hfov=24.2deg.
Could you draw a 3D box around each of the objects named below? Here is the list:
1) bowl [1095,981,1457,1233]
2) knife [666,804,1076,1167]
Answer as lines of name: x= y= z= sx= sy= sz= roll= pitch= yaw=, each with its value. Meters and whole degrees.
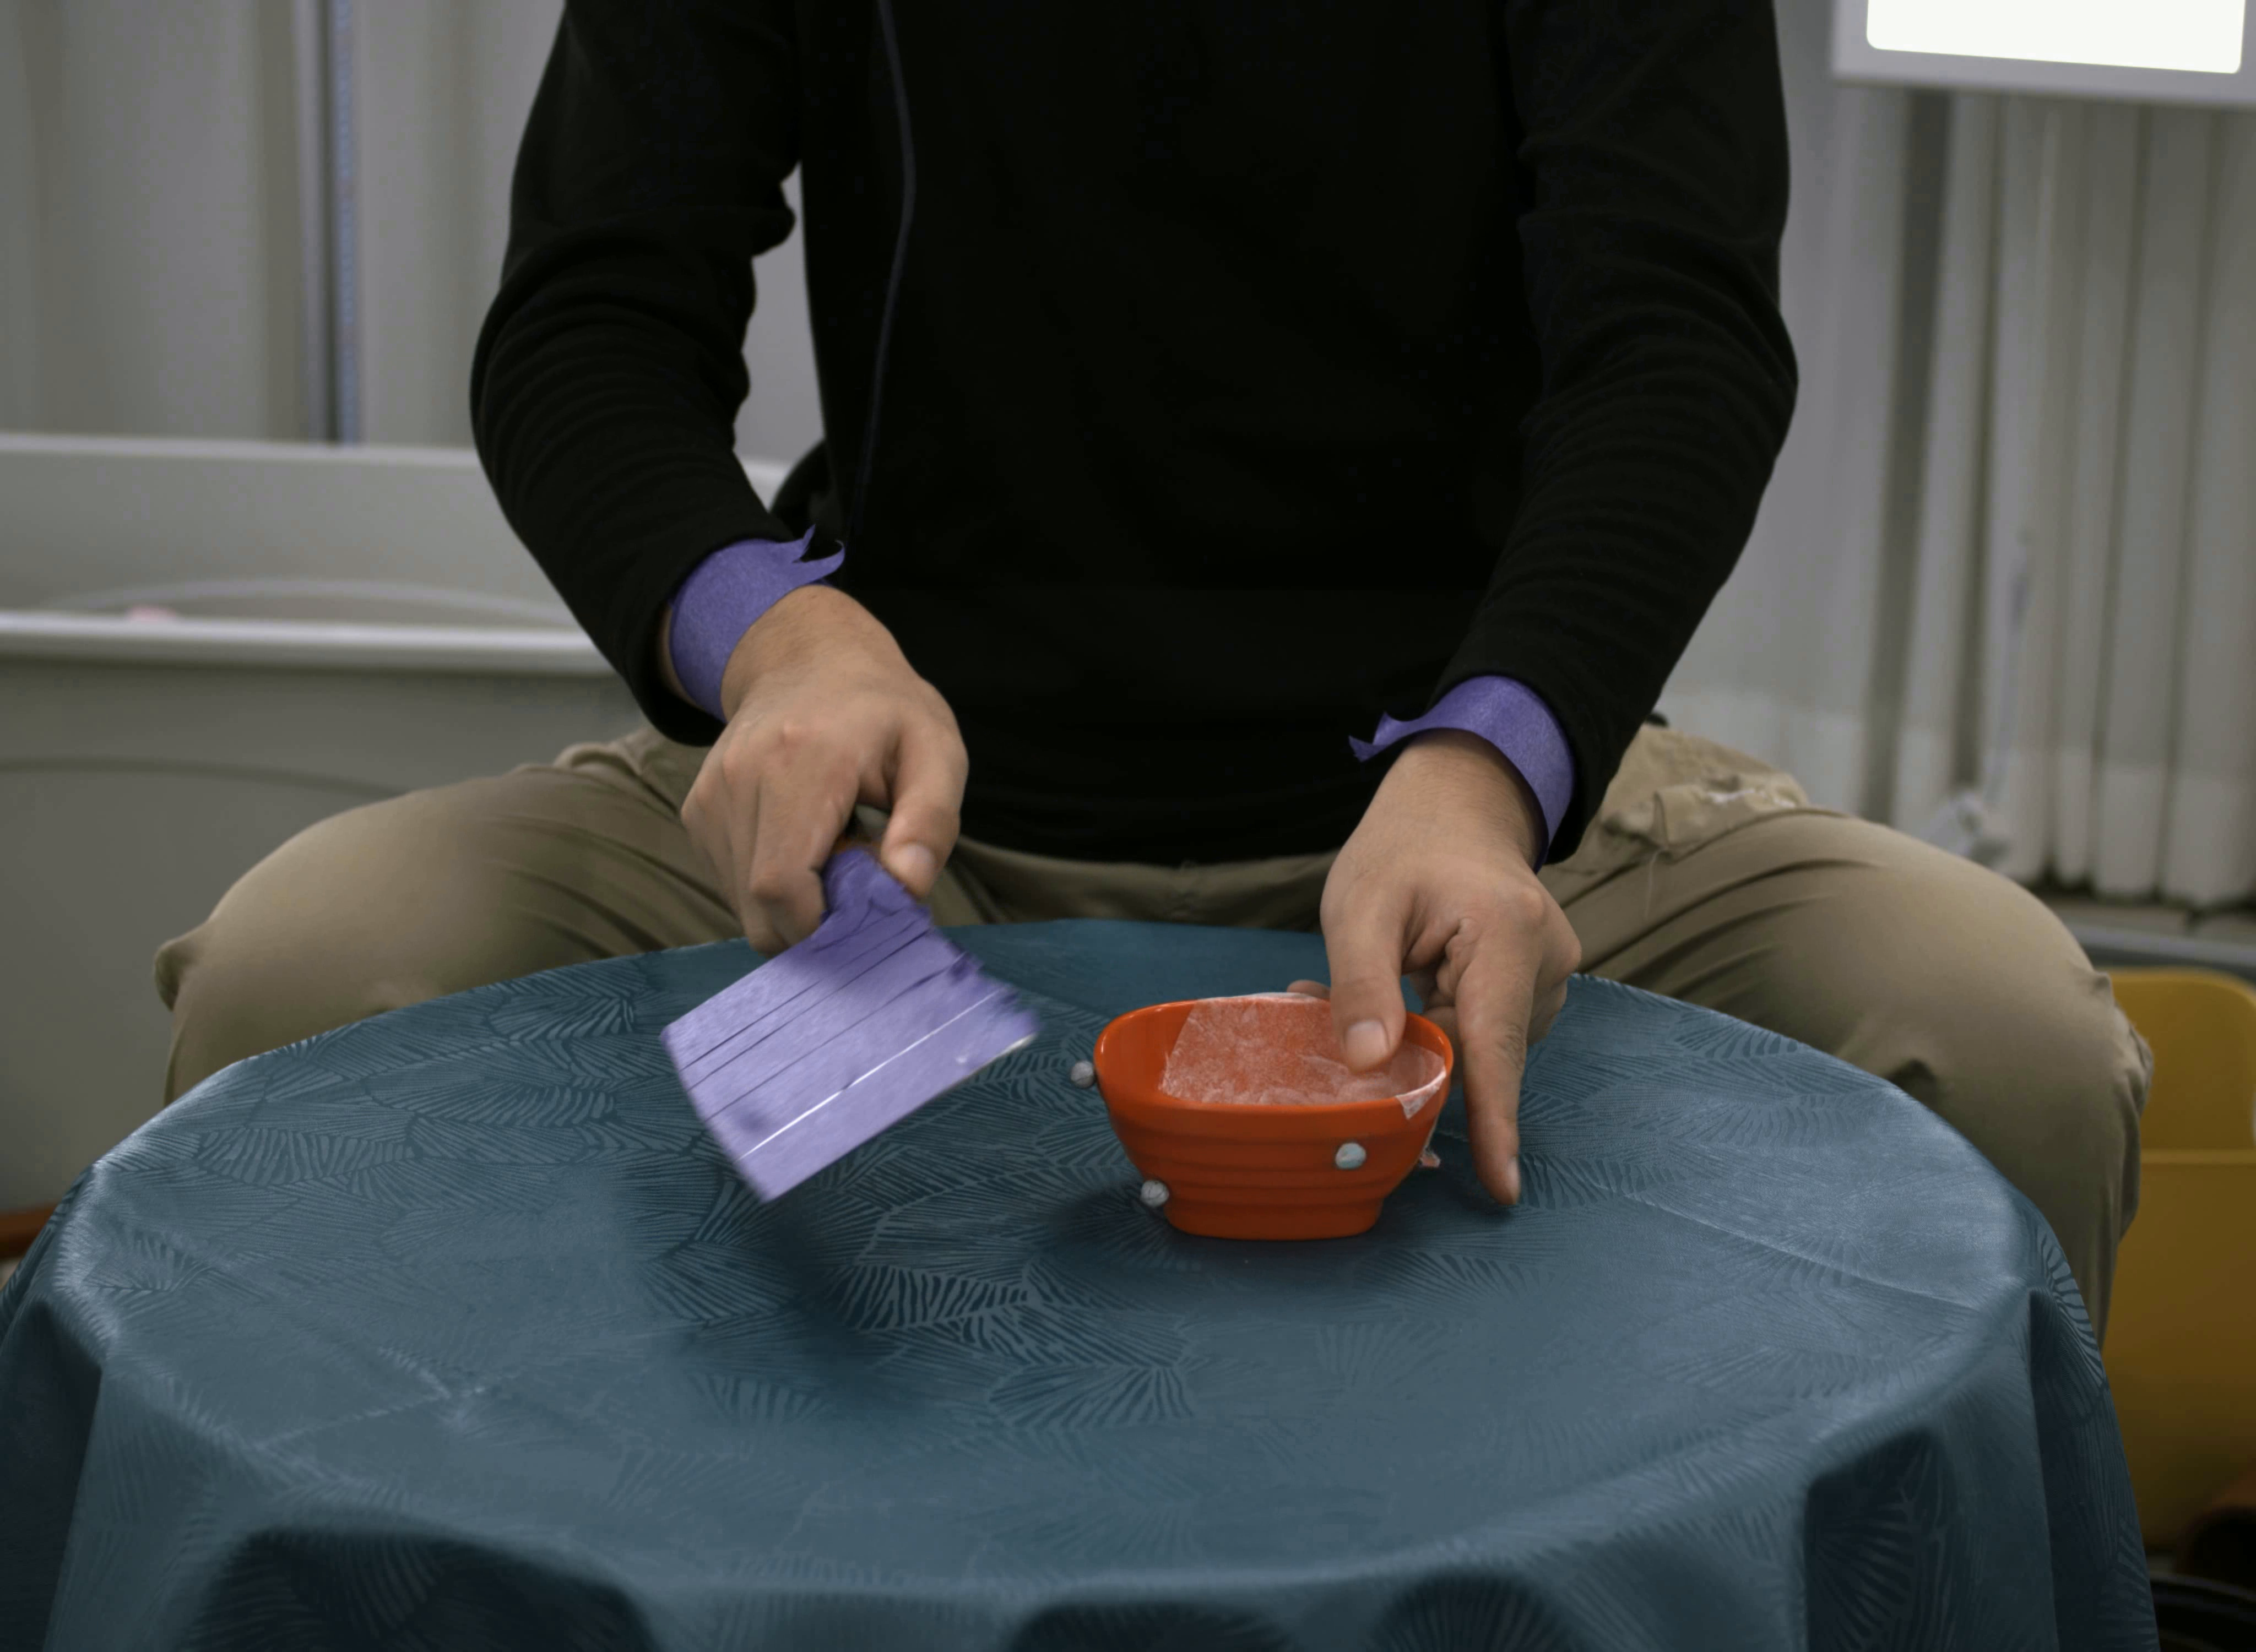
bowl: x=0.045 y=0.088 z=1.604 sx=0.118 sy=0.052 sz=0.118 roll=1 pitch=18 yaw=0
knife: x=-0.096 y=0.045 z=1.607 sx=0.104 sy=0.032 sz=0.313 roll=-31 pitch=14 yaw=-7
